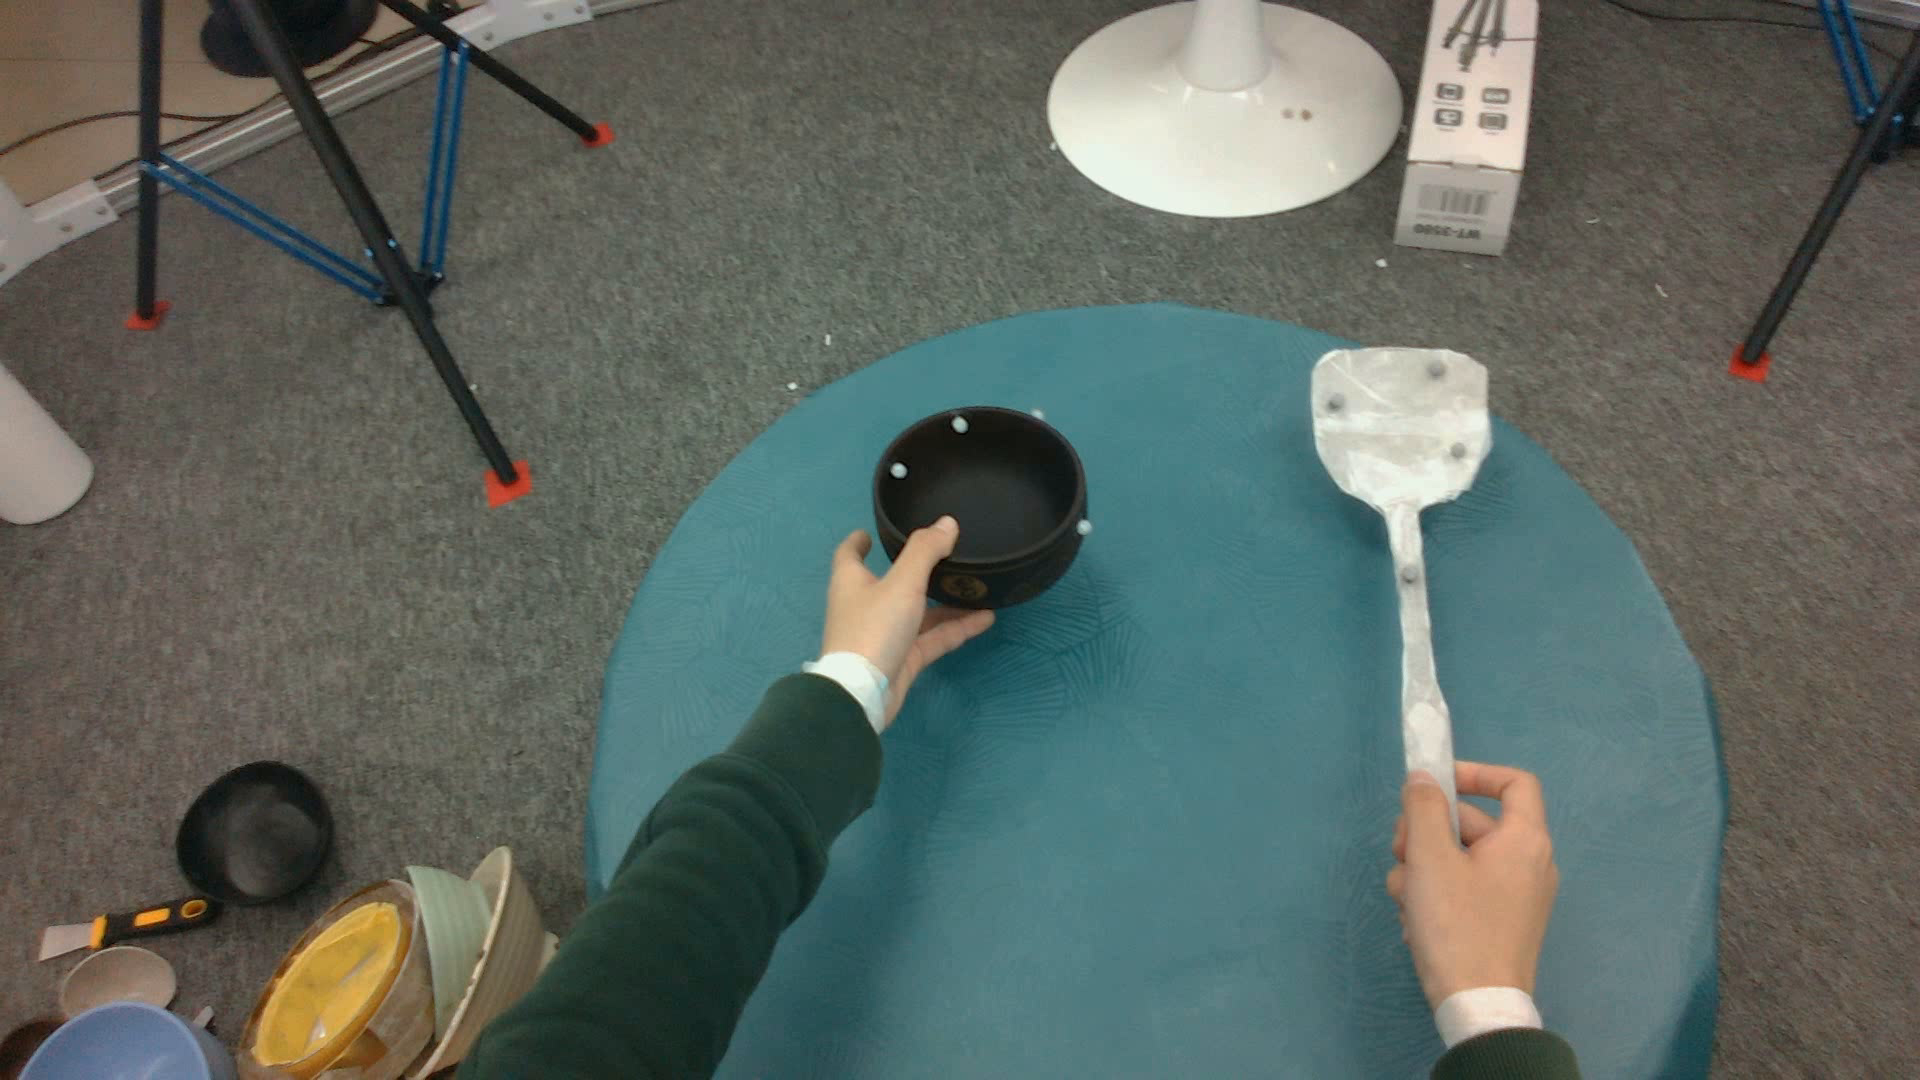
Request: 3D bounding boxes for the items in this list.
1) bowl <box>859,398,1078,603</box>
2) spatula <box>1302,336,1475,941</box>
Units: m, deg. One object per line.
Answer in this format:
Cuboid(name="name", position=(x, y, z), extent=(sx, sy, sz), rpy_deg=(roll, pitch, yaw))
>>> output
Cuboid(name="bowl", position=(0.006, -0.014, 0.757), extent=(0.118, 0.069, 0.118), rpy_deg=(-3, 51, 4))
Cuboid(name="spatula", position=(0.224, 0.030, 0.712), extent=(0.098, 0.044, 0.367), rpy_deg=(5, 49, 9))
